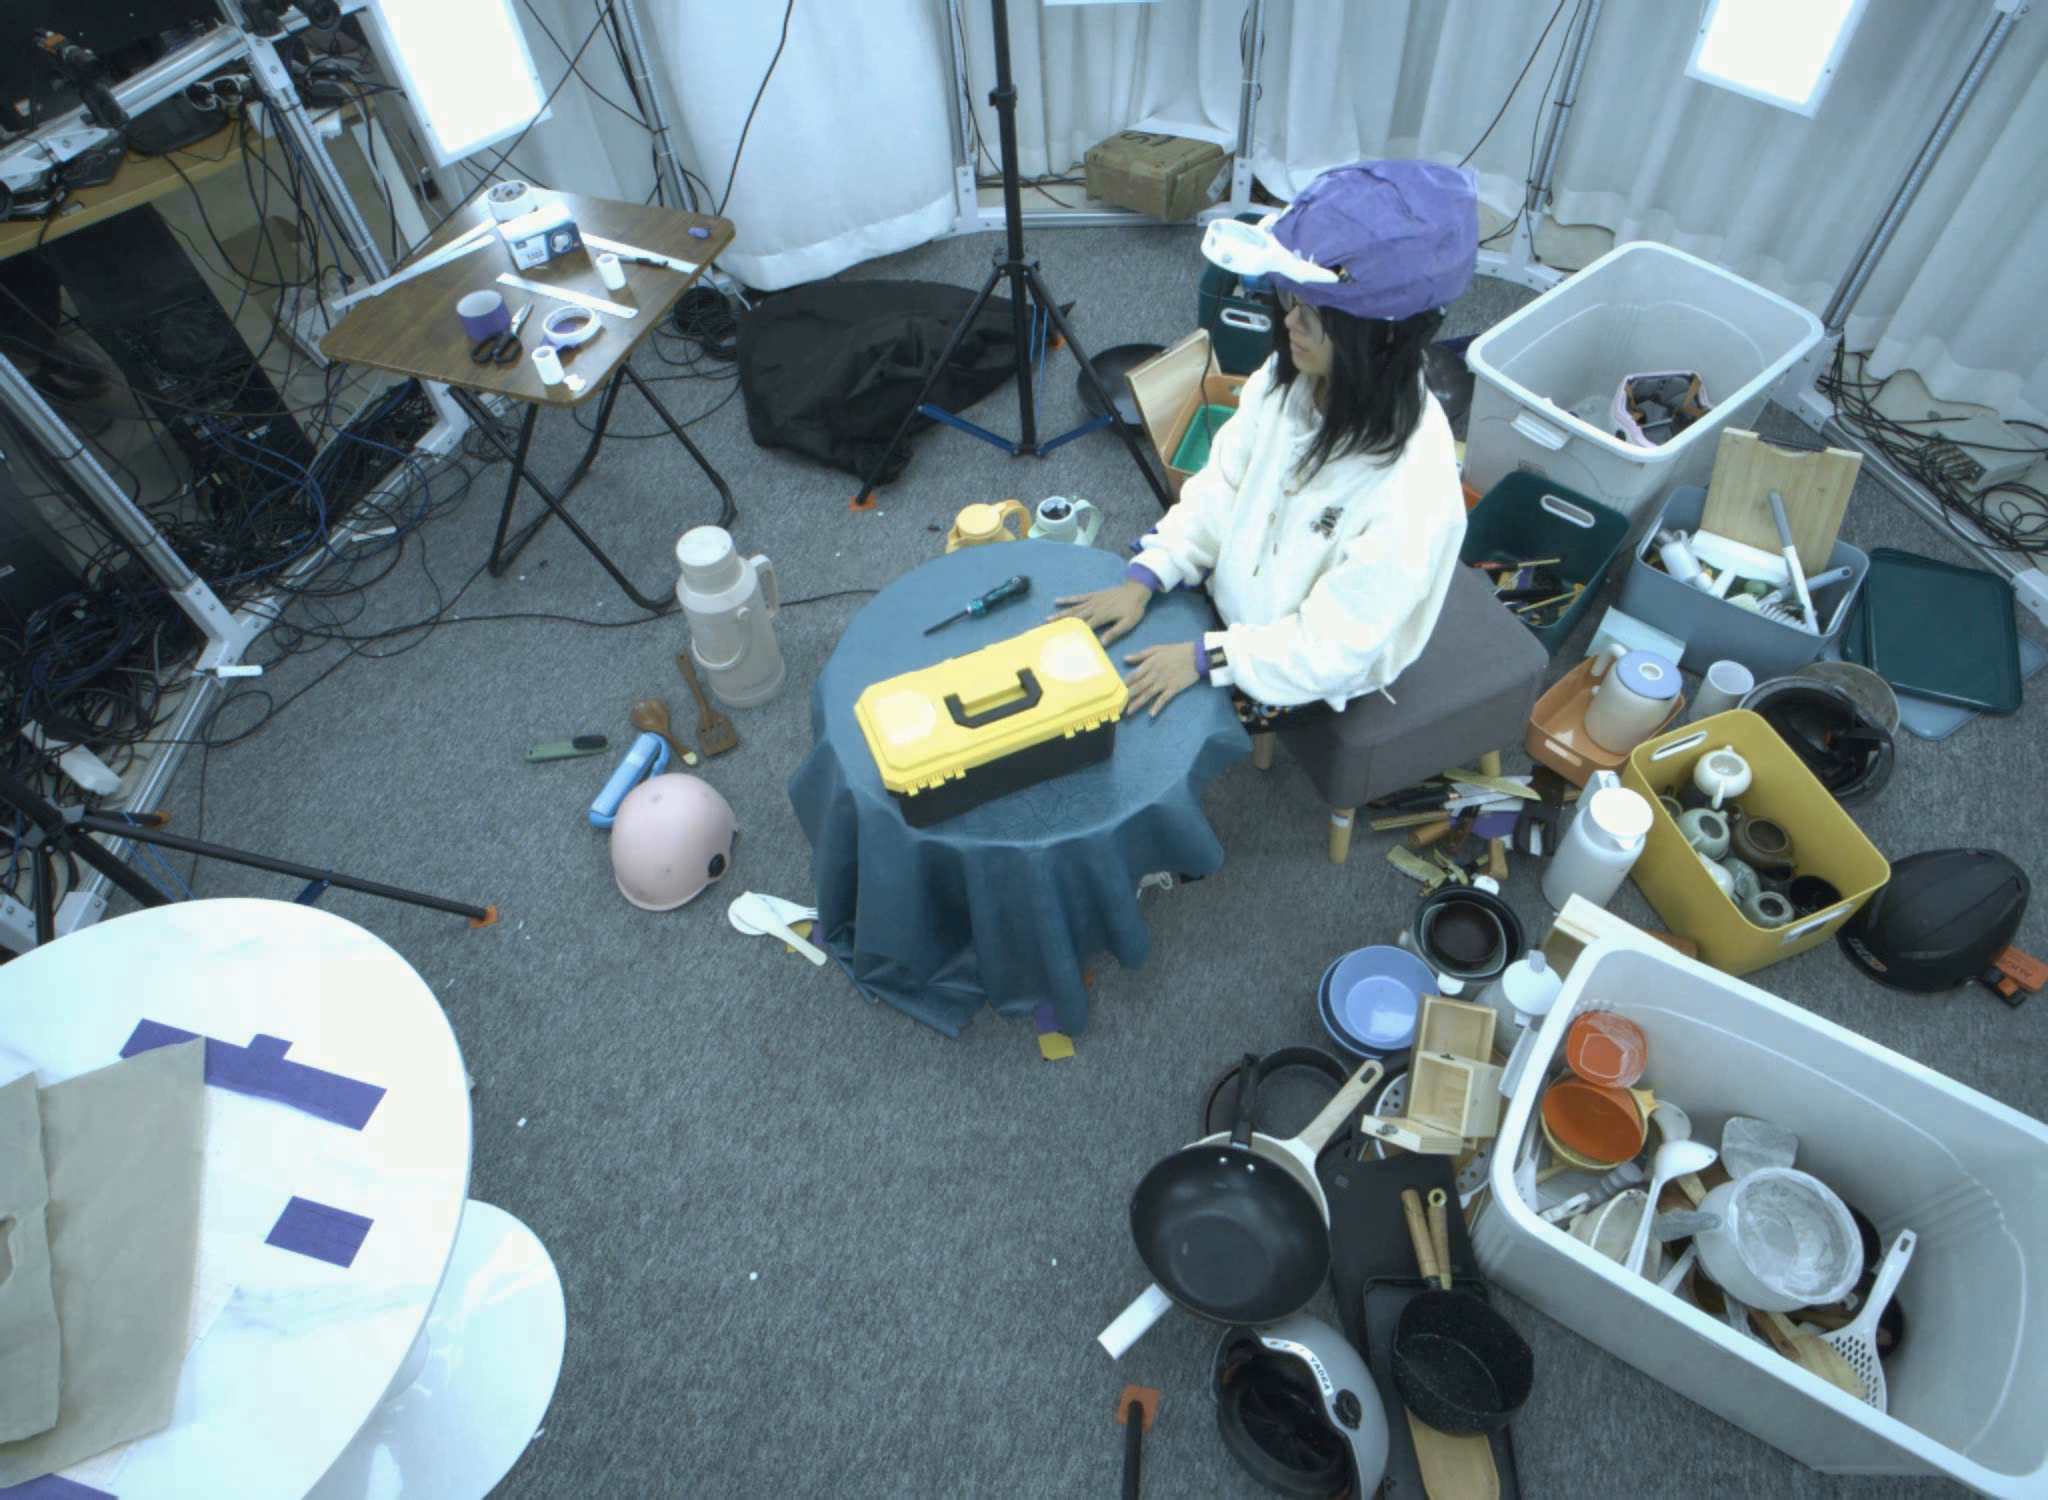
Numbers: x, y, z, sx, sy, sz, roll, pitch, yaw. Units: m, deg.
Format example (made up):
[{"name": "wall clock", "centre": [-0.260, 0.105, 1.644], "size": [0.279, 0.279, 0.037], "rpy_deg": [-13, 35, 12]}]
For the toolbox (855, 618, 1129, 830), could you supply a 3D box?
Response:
[{"name": "toolbox", "centre": [-0.042, -0.034, 1.707], "size": [0.354, 0.175, 0.178], "rpy_deg": [-20, 56, -11]}]

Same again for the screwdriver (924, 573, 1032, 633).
[{"name": "screwdriver", "centre": [-0.074, -0.229, 1.939], "size": [0.191, 0.034, 0.033], "rpy_deg": [-29, 58, -12]}]
